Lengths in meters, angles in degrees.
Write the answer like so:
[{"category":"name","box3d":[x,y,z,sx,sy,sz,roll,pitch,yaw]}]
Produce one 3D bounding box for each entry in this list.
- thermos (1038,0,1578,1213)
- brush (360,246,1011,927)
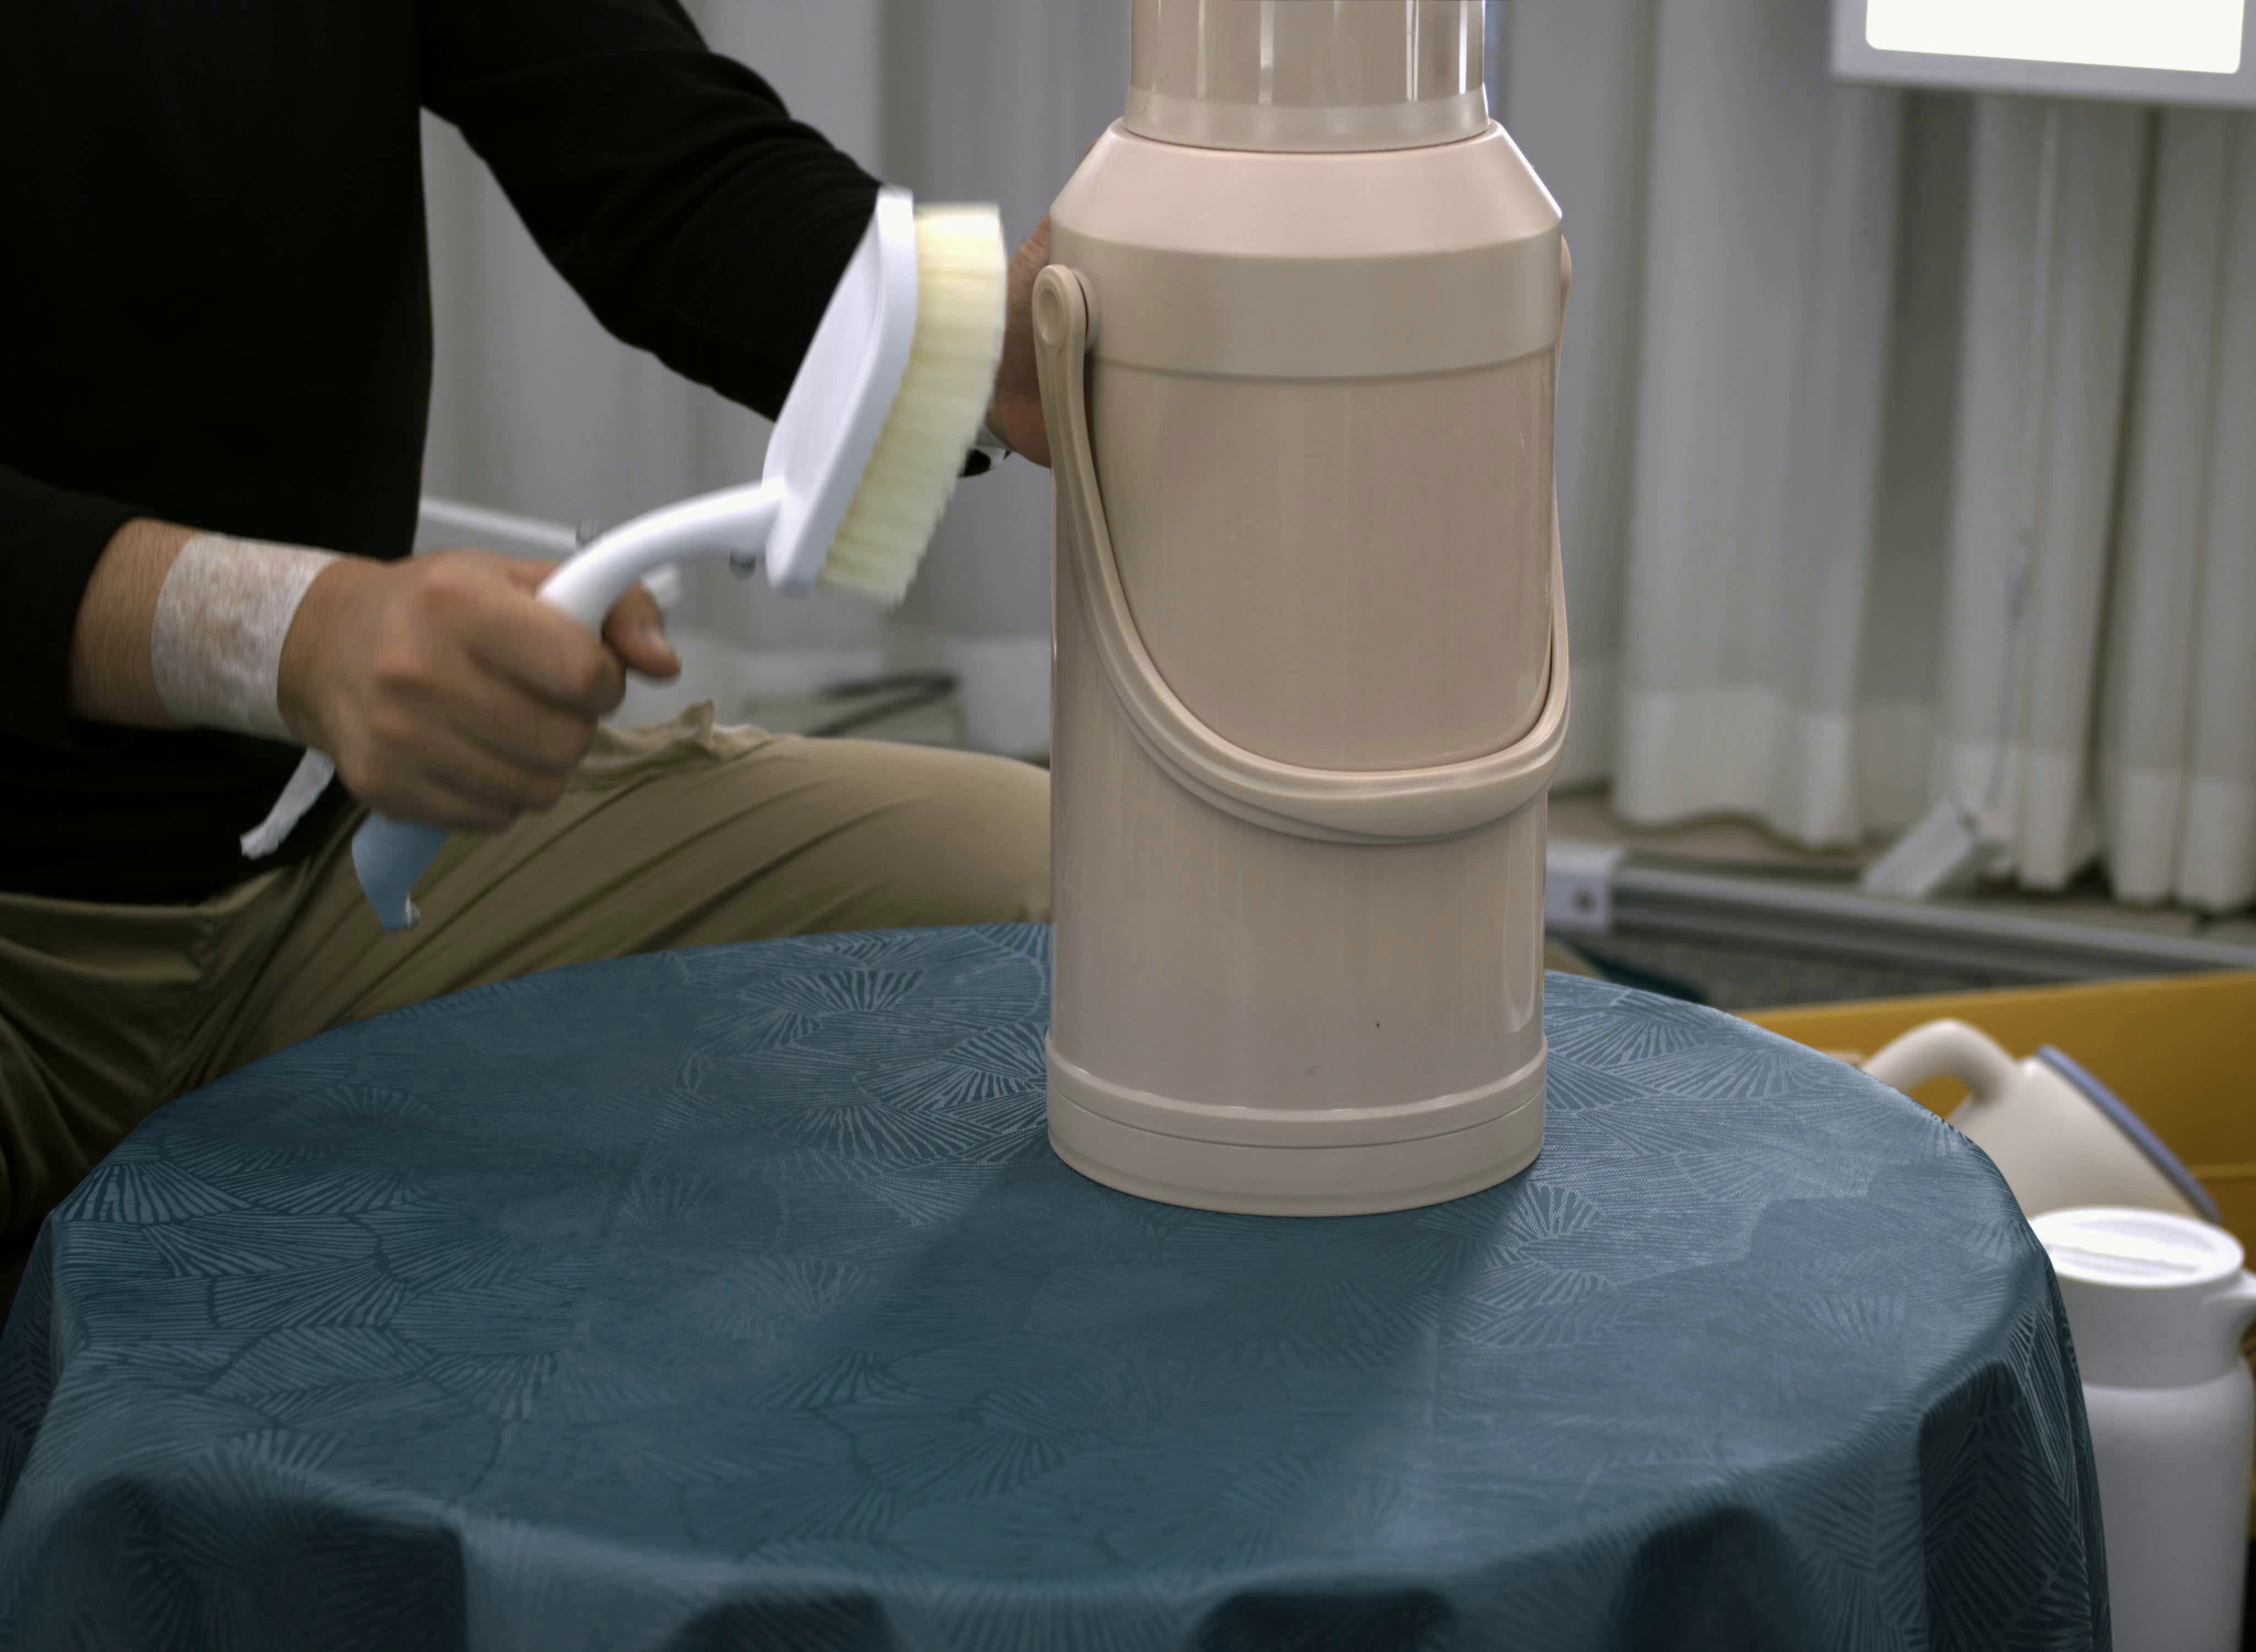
[{"category":"thermos","box3d":[0.050,-0.097,1.632,0.176,0.410,0.204,-10,19,-27]},{"category":"brush","box3d":[-0.120,-0.059,1.595,0.084,0.325,0.083,48,37,5]}]
